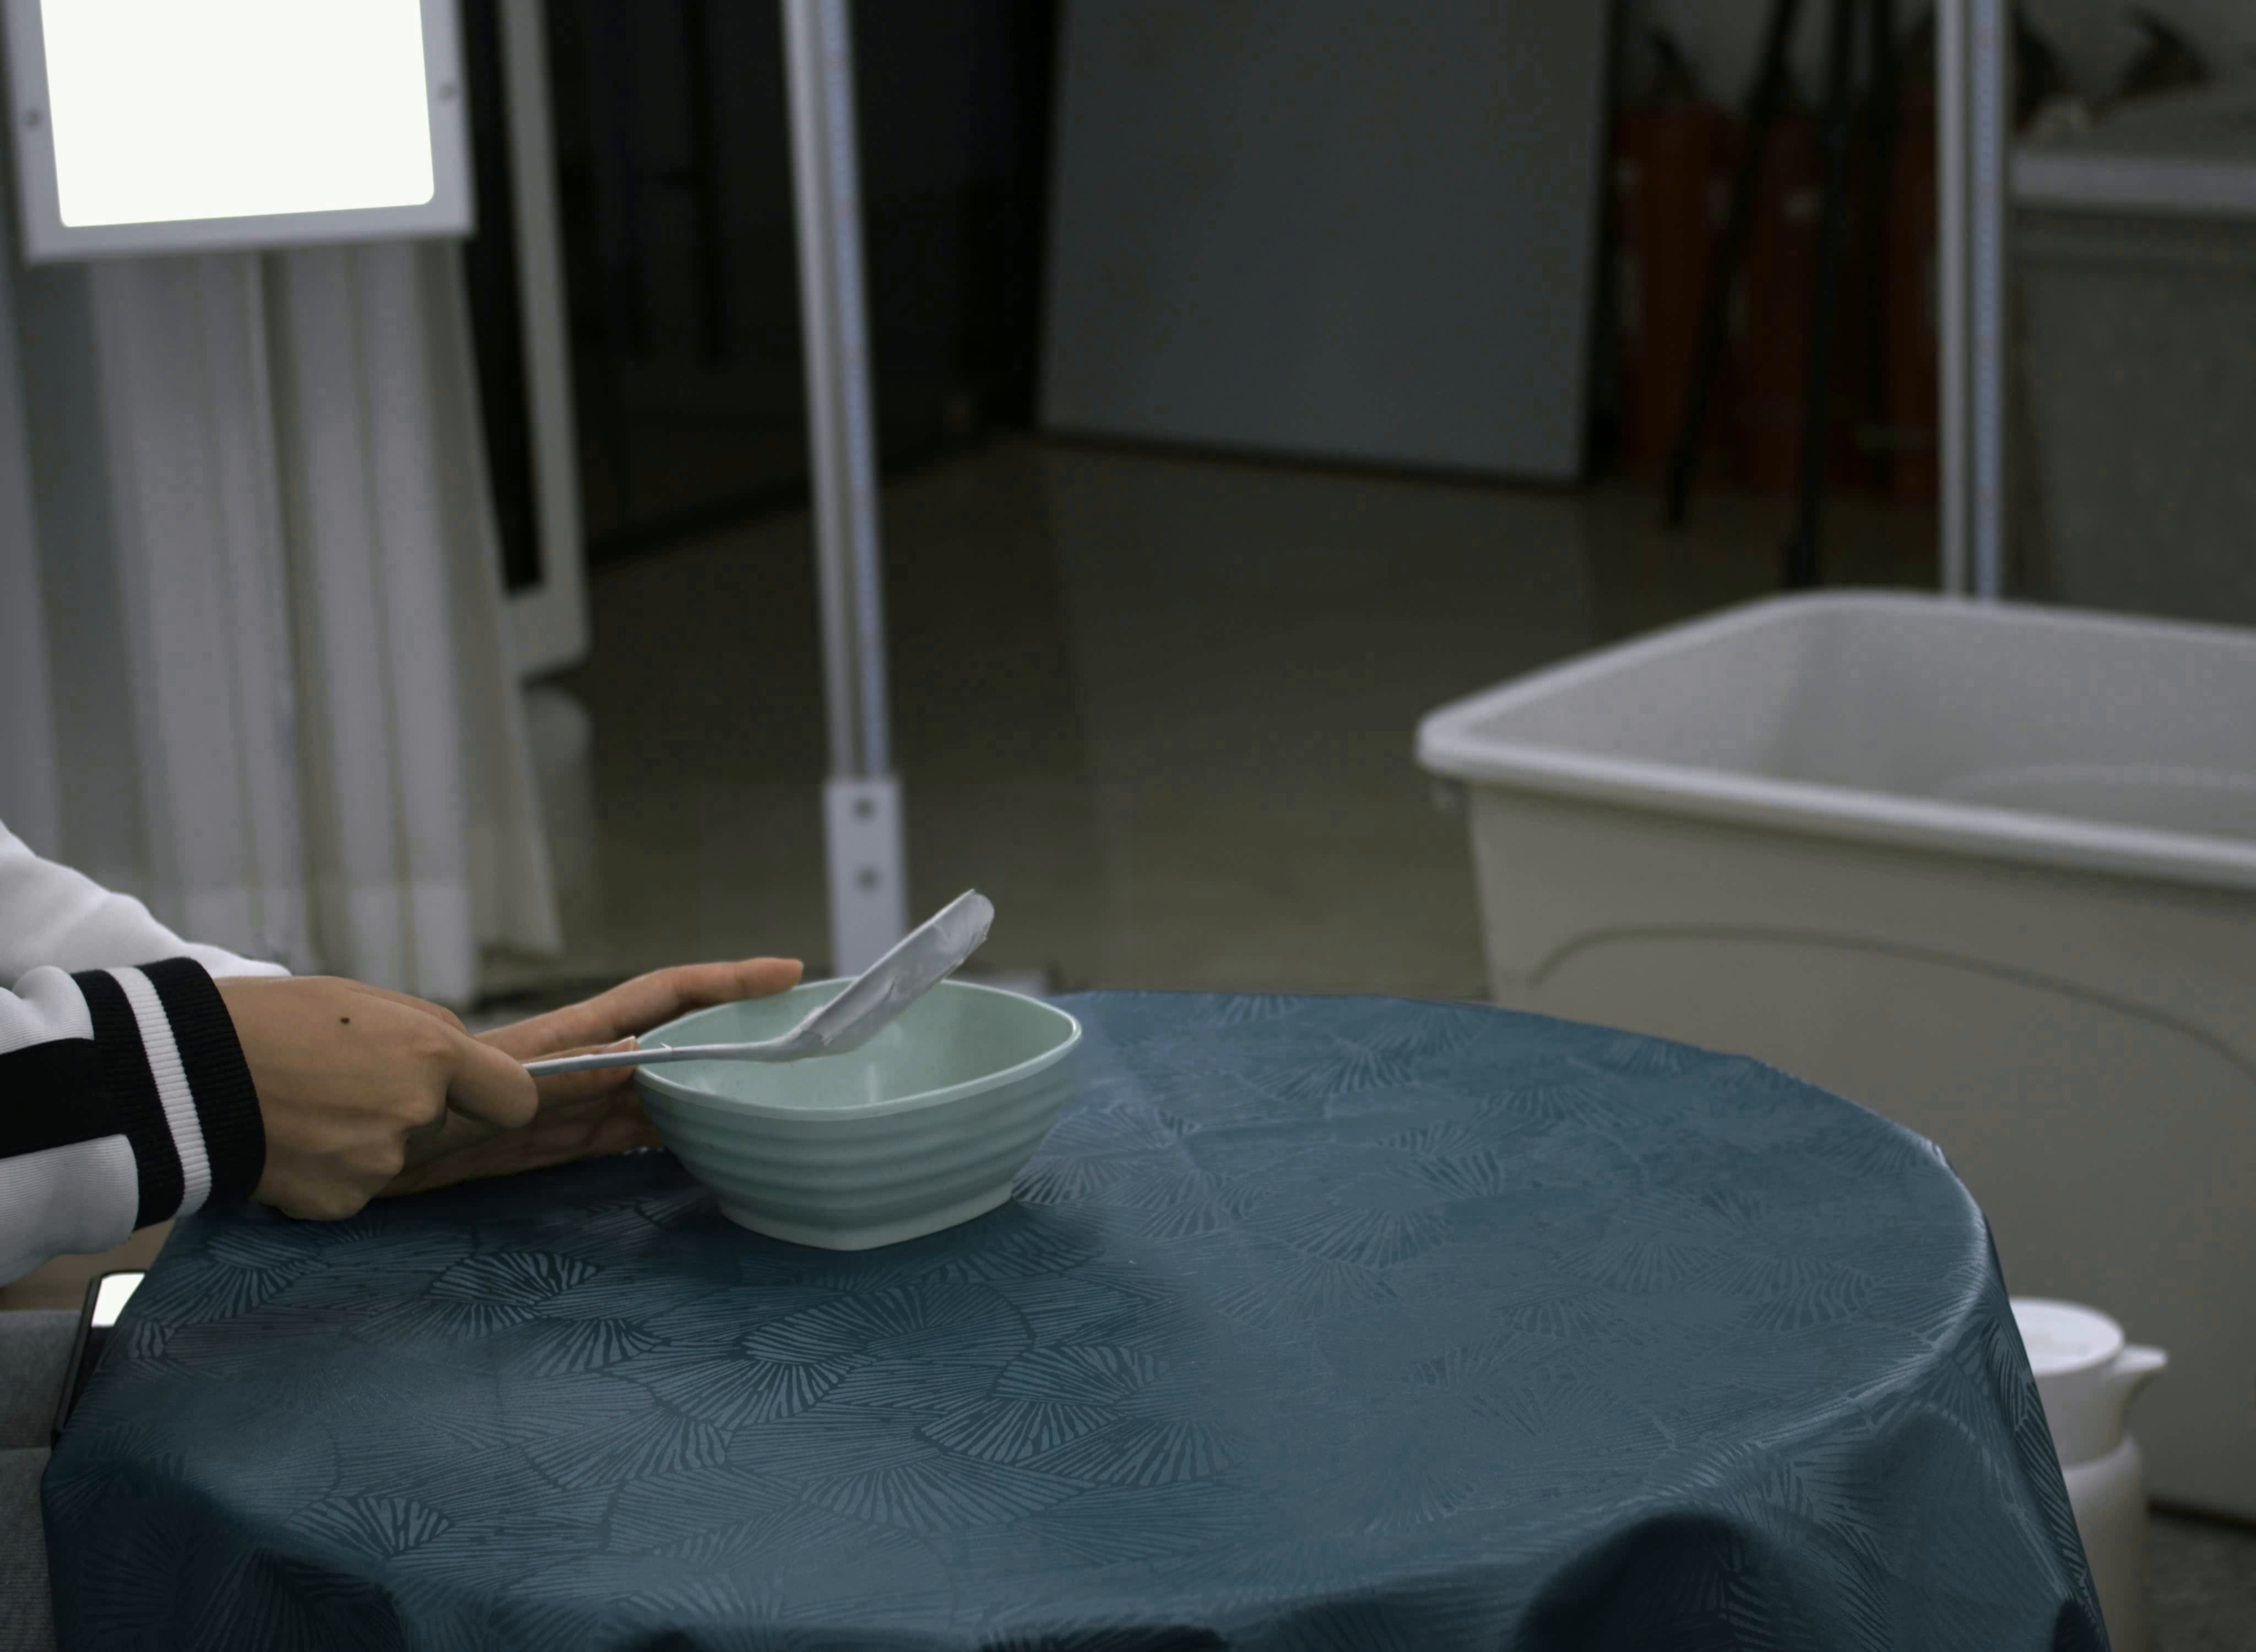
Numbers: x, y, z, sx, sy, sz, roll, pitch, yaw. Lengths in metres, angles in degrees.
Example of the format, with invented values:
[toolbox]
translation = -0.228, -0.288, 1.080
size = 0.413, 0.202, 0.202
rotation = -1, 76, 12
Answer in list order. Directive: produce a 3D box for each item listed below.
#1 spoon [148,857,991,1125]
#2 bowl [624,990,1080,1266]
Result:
[spoon]
translation = -0.173, 0.053, 1.710
size = 0.272, 0.060, 0.101
rotation = -5, -19, -13
[bowl]
translation = -0.088, 0.101, 1.769
size = 0.149, 0.059, 0.152
rotation = -4, 14, 0
